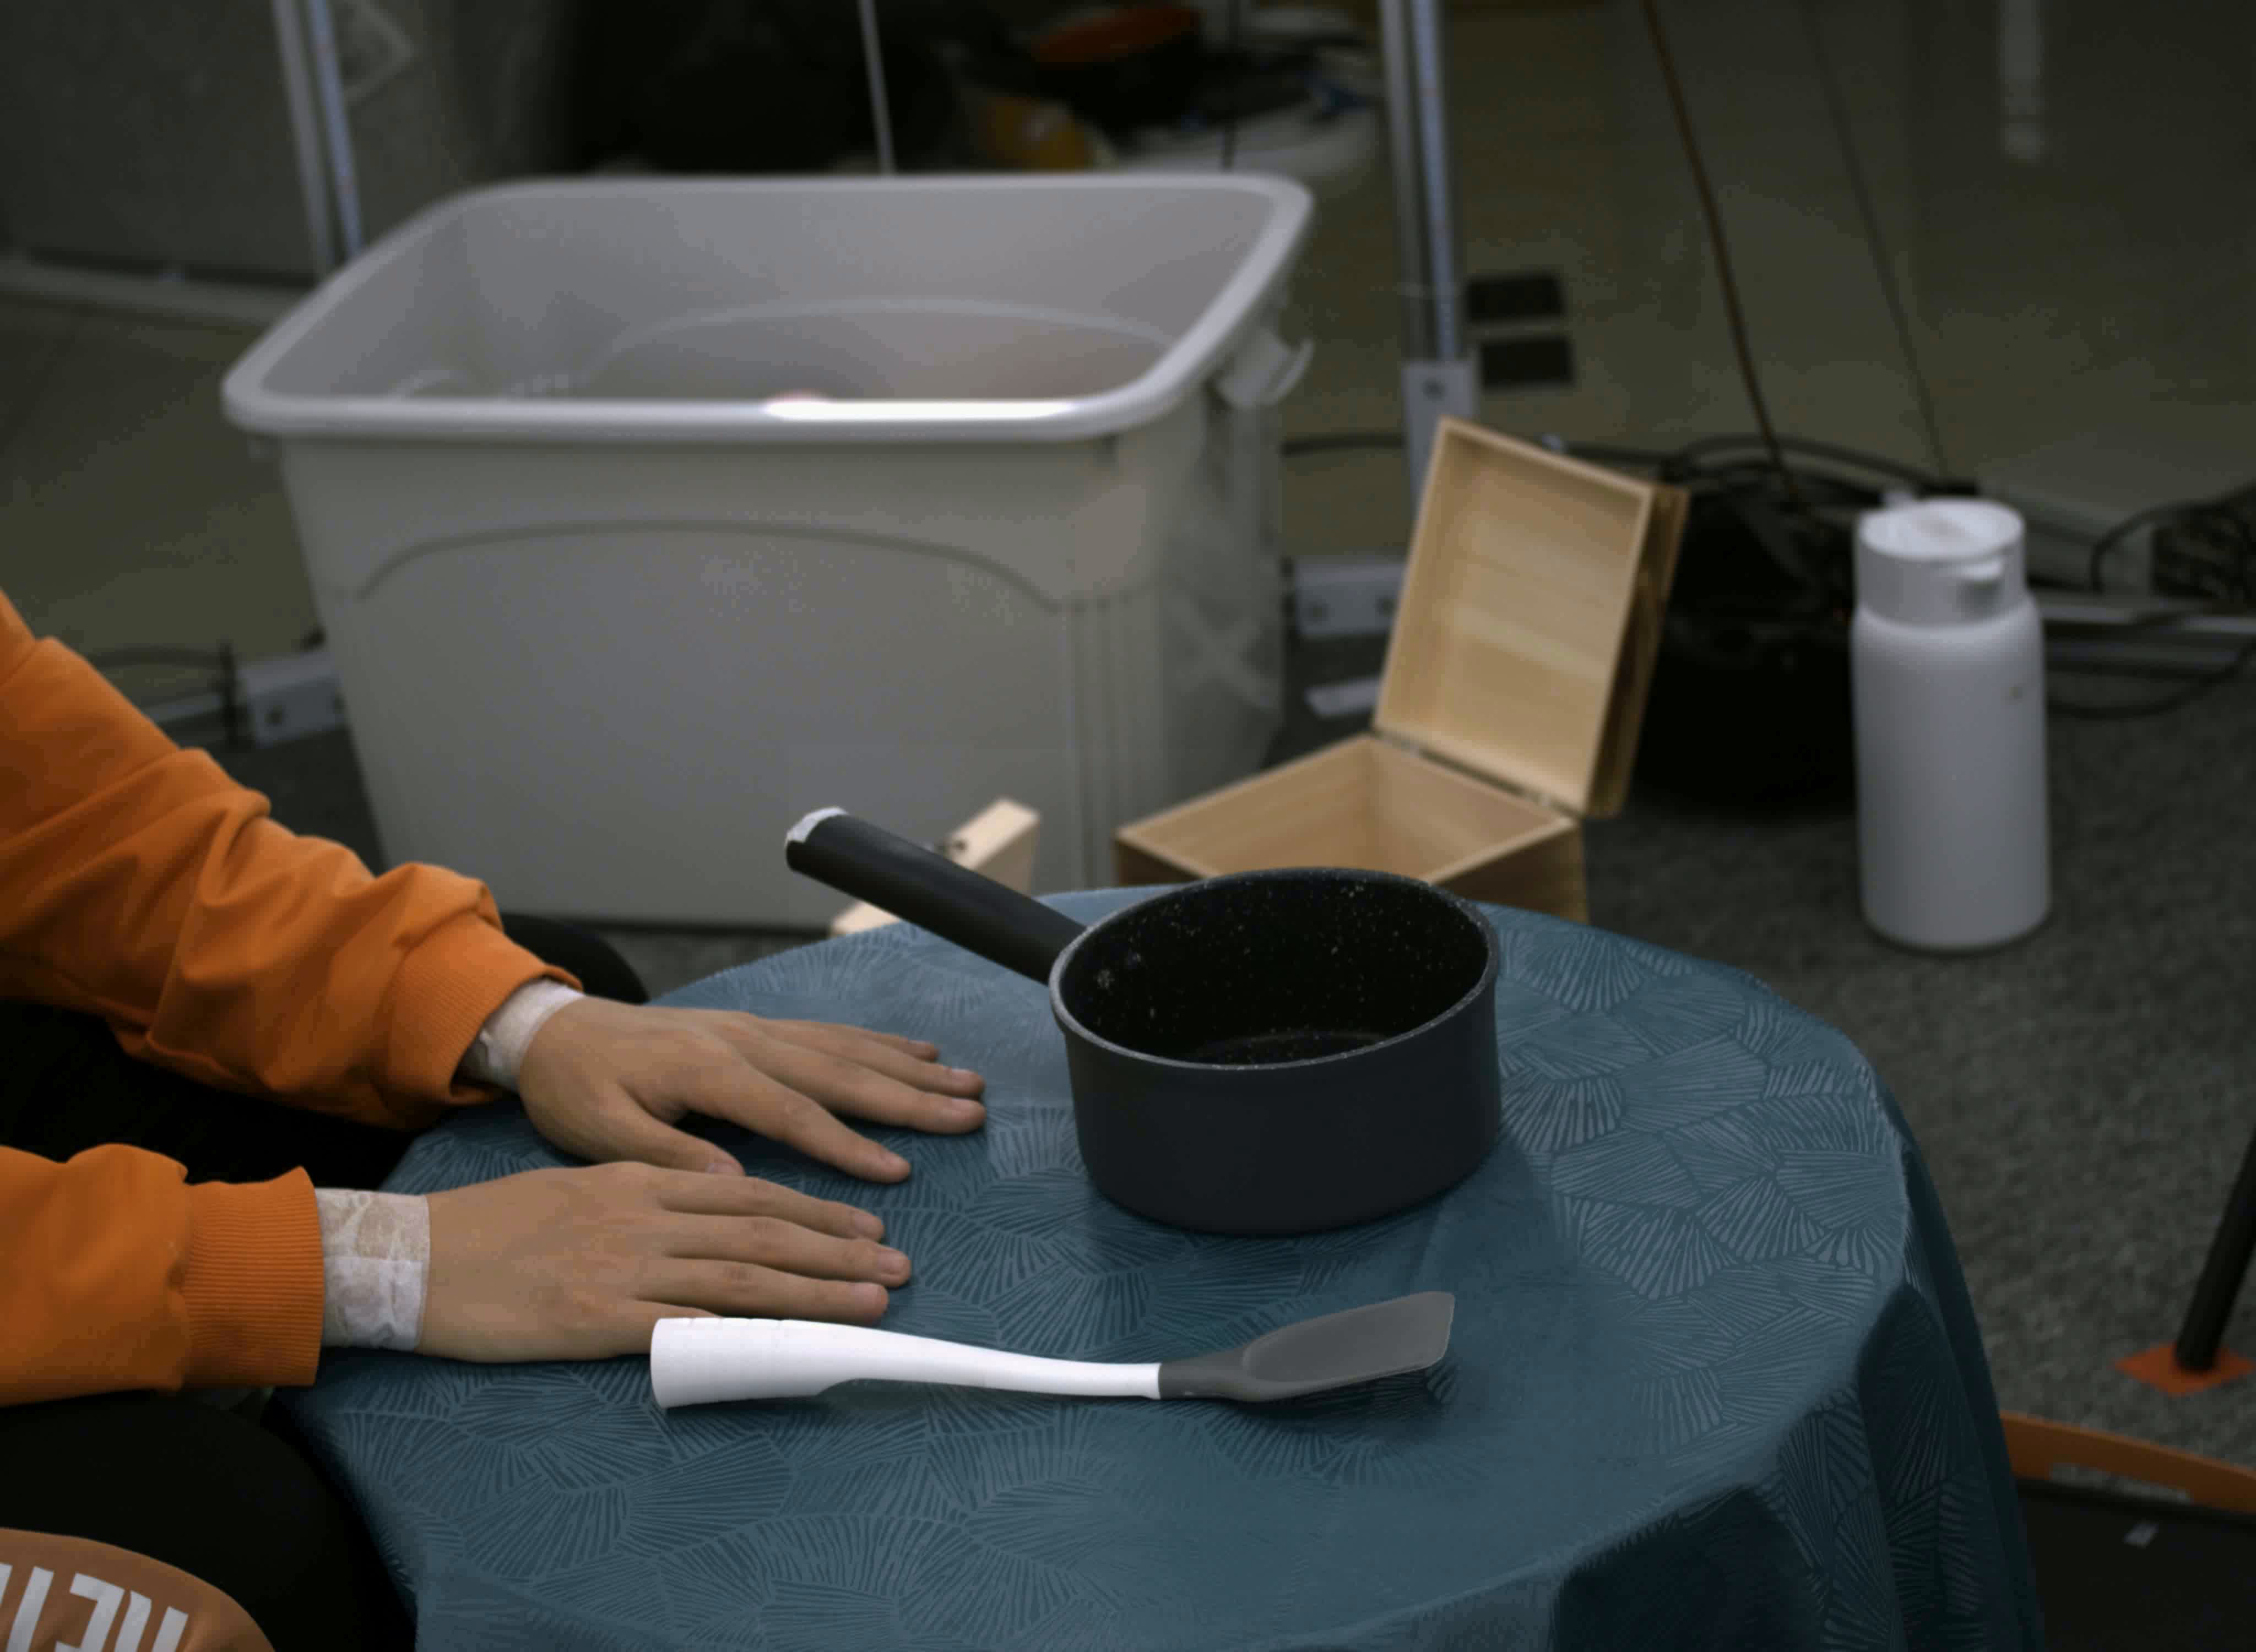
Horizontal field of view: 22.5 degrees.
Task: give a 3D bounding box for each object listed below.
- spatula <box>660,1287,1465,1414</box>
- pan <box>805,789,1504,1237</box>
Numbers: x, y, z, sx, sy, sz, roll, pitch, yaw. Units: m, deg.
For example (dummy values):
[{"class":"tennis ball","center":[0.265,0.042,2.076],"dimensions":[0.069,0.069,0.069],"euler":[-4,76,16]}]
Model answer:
[{"class":"spatula","center":[-0.023,0.188,2.010],"dimensions":[0.287,0.032,0.058],"euler":[-3,21,10]},{"class":"pan","center":[0.000,0.065,2.203],"dimensions":[0.326,0.088,0.170],"euler":[18,34,39]}]
